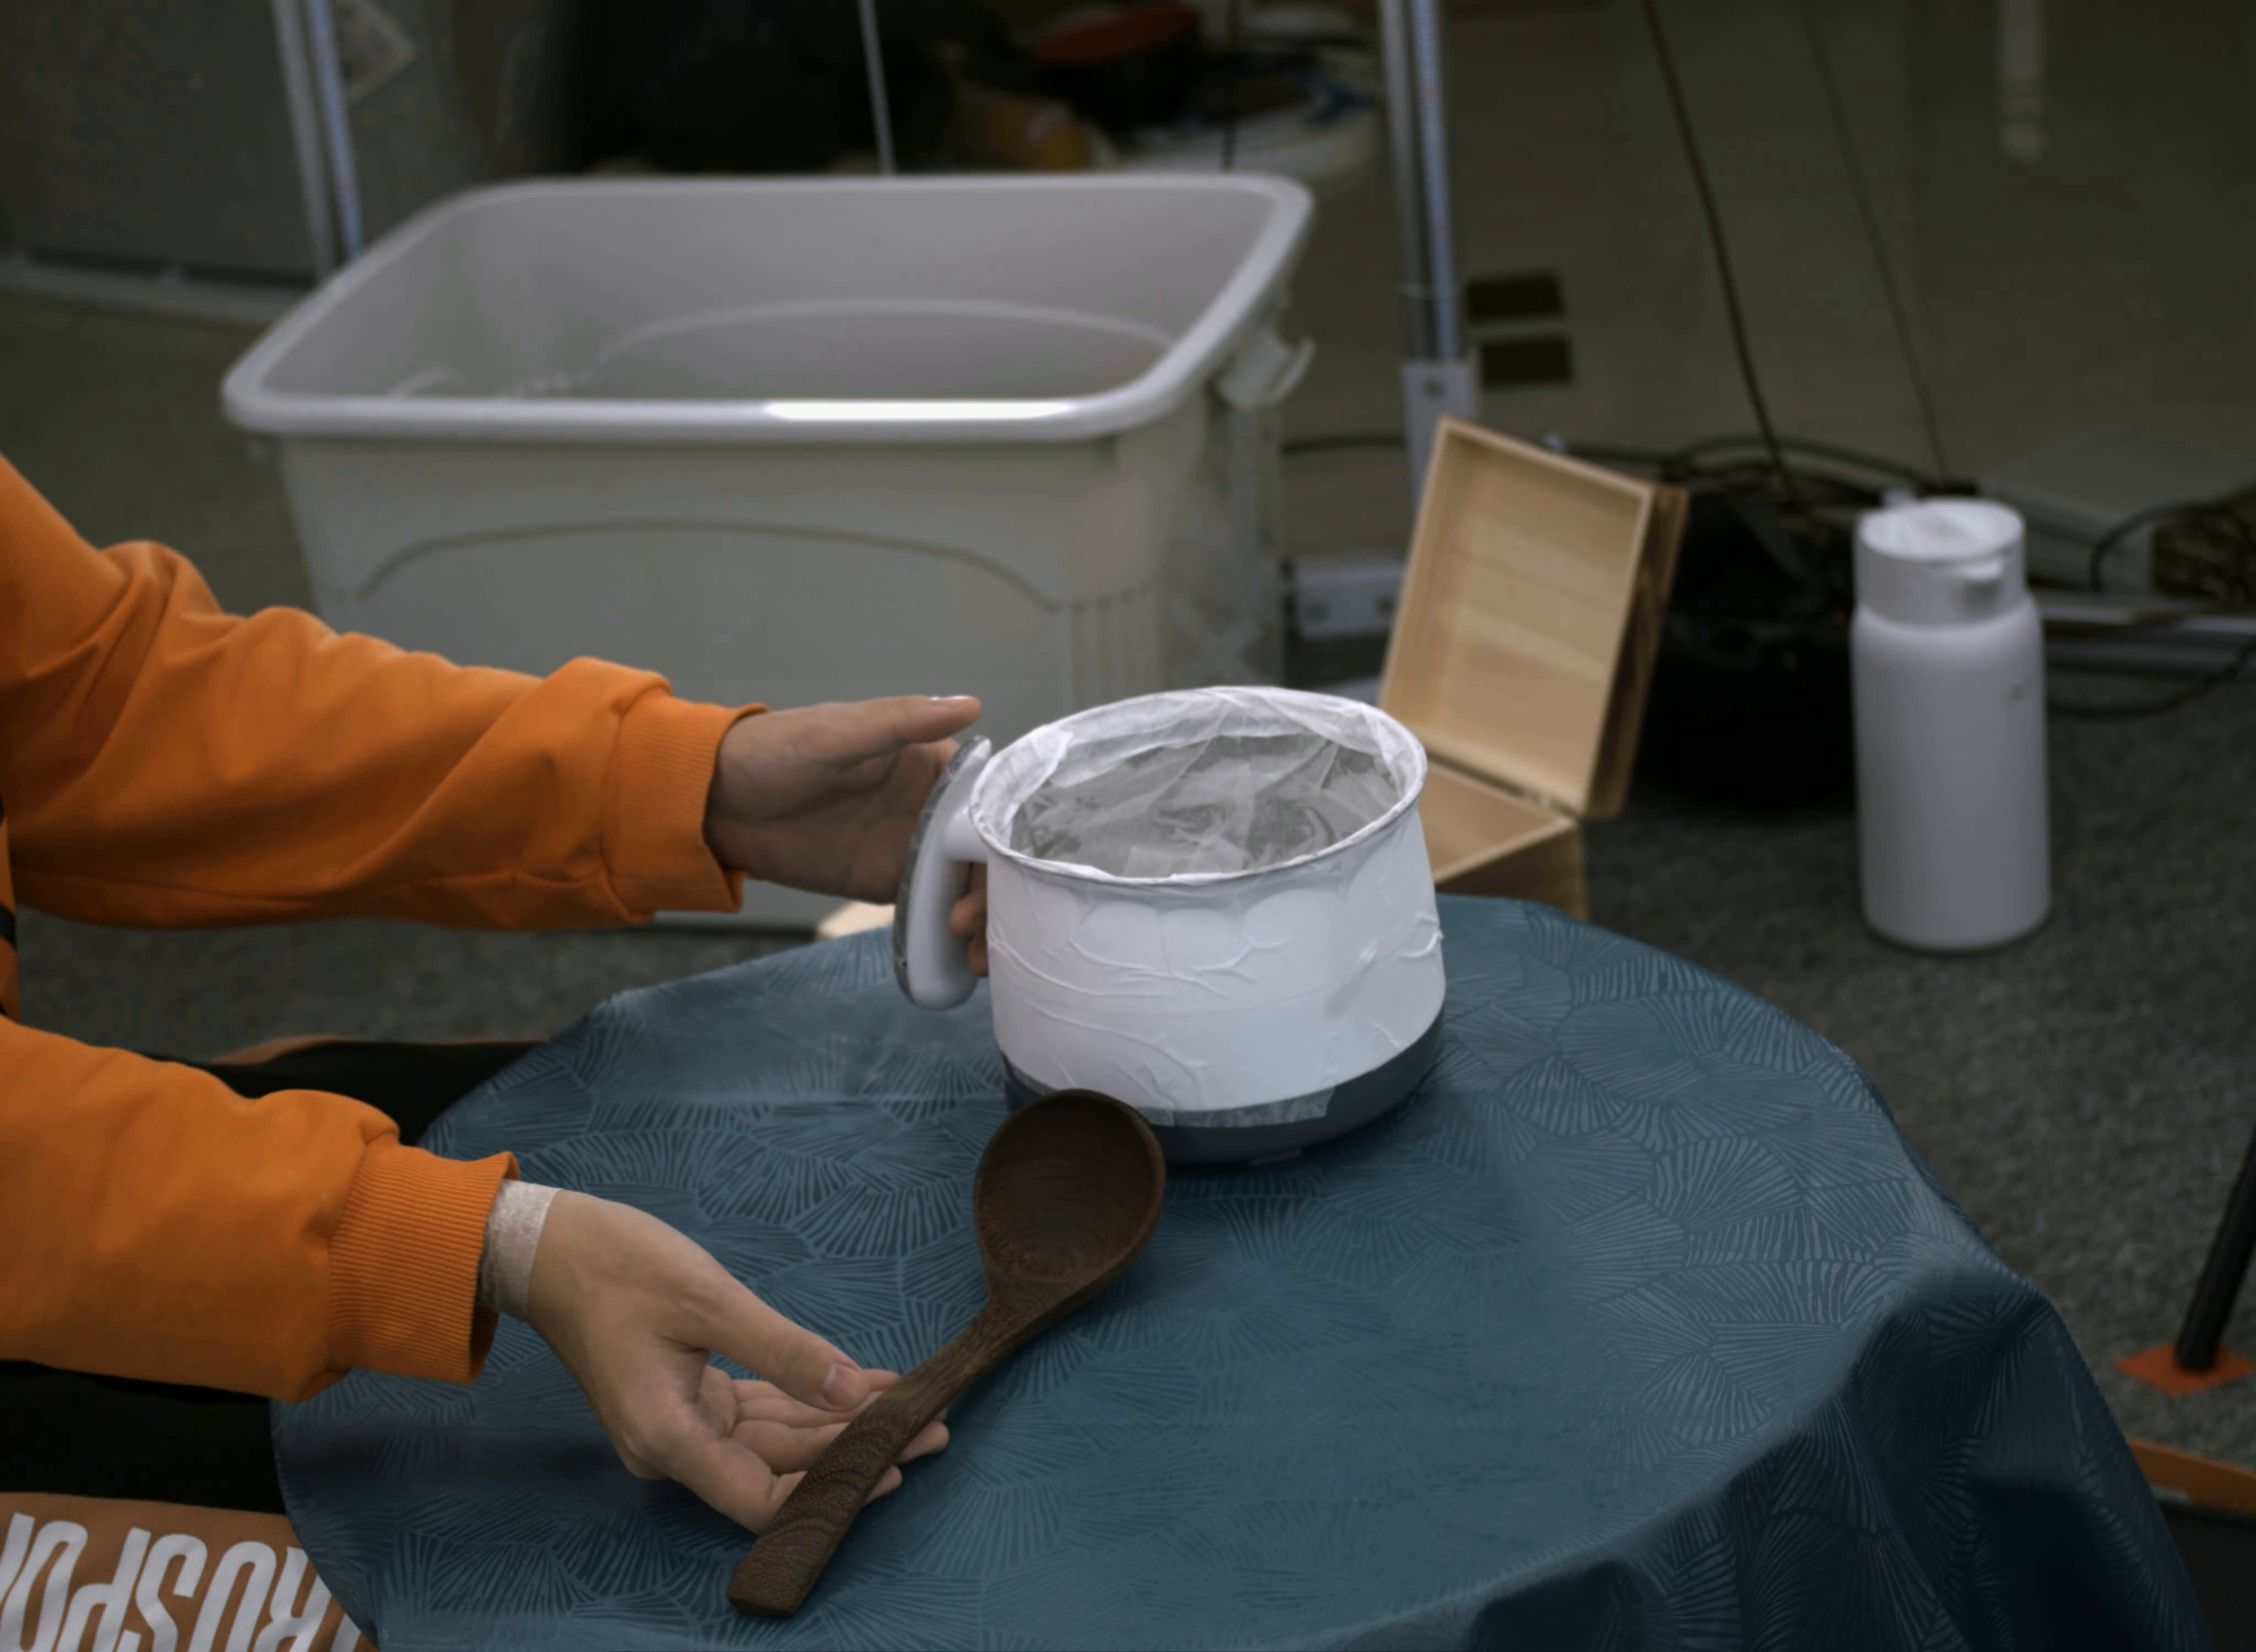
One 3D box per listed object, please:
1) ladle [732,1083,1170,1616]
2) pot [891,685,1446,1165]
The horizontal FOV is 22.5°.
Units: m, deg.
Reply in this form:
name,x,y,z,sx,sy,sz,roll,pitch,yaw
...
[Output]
name,x,y,z,sx,sy,sz,roll,pitch,yaw
ladle,-0.067,0.178,1.996,0.076,0.072,0.271,7,28,26
pot,0.008,0.036,2.200,0.233,0.139,0.176,9,29,28
